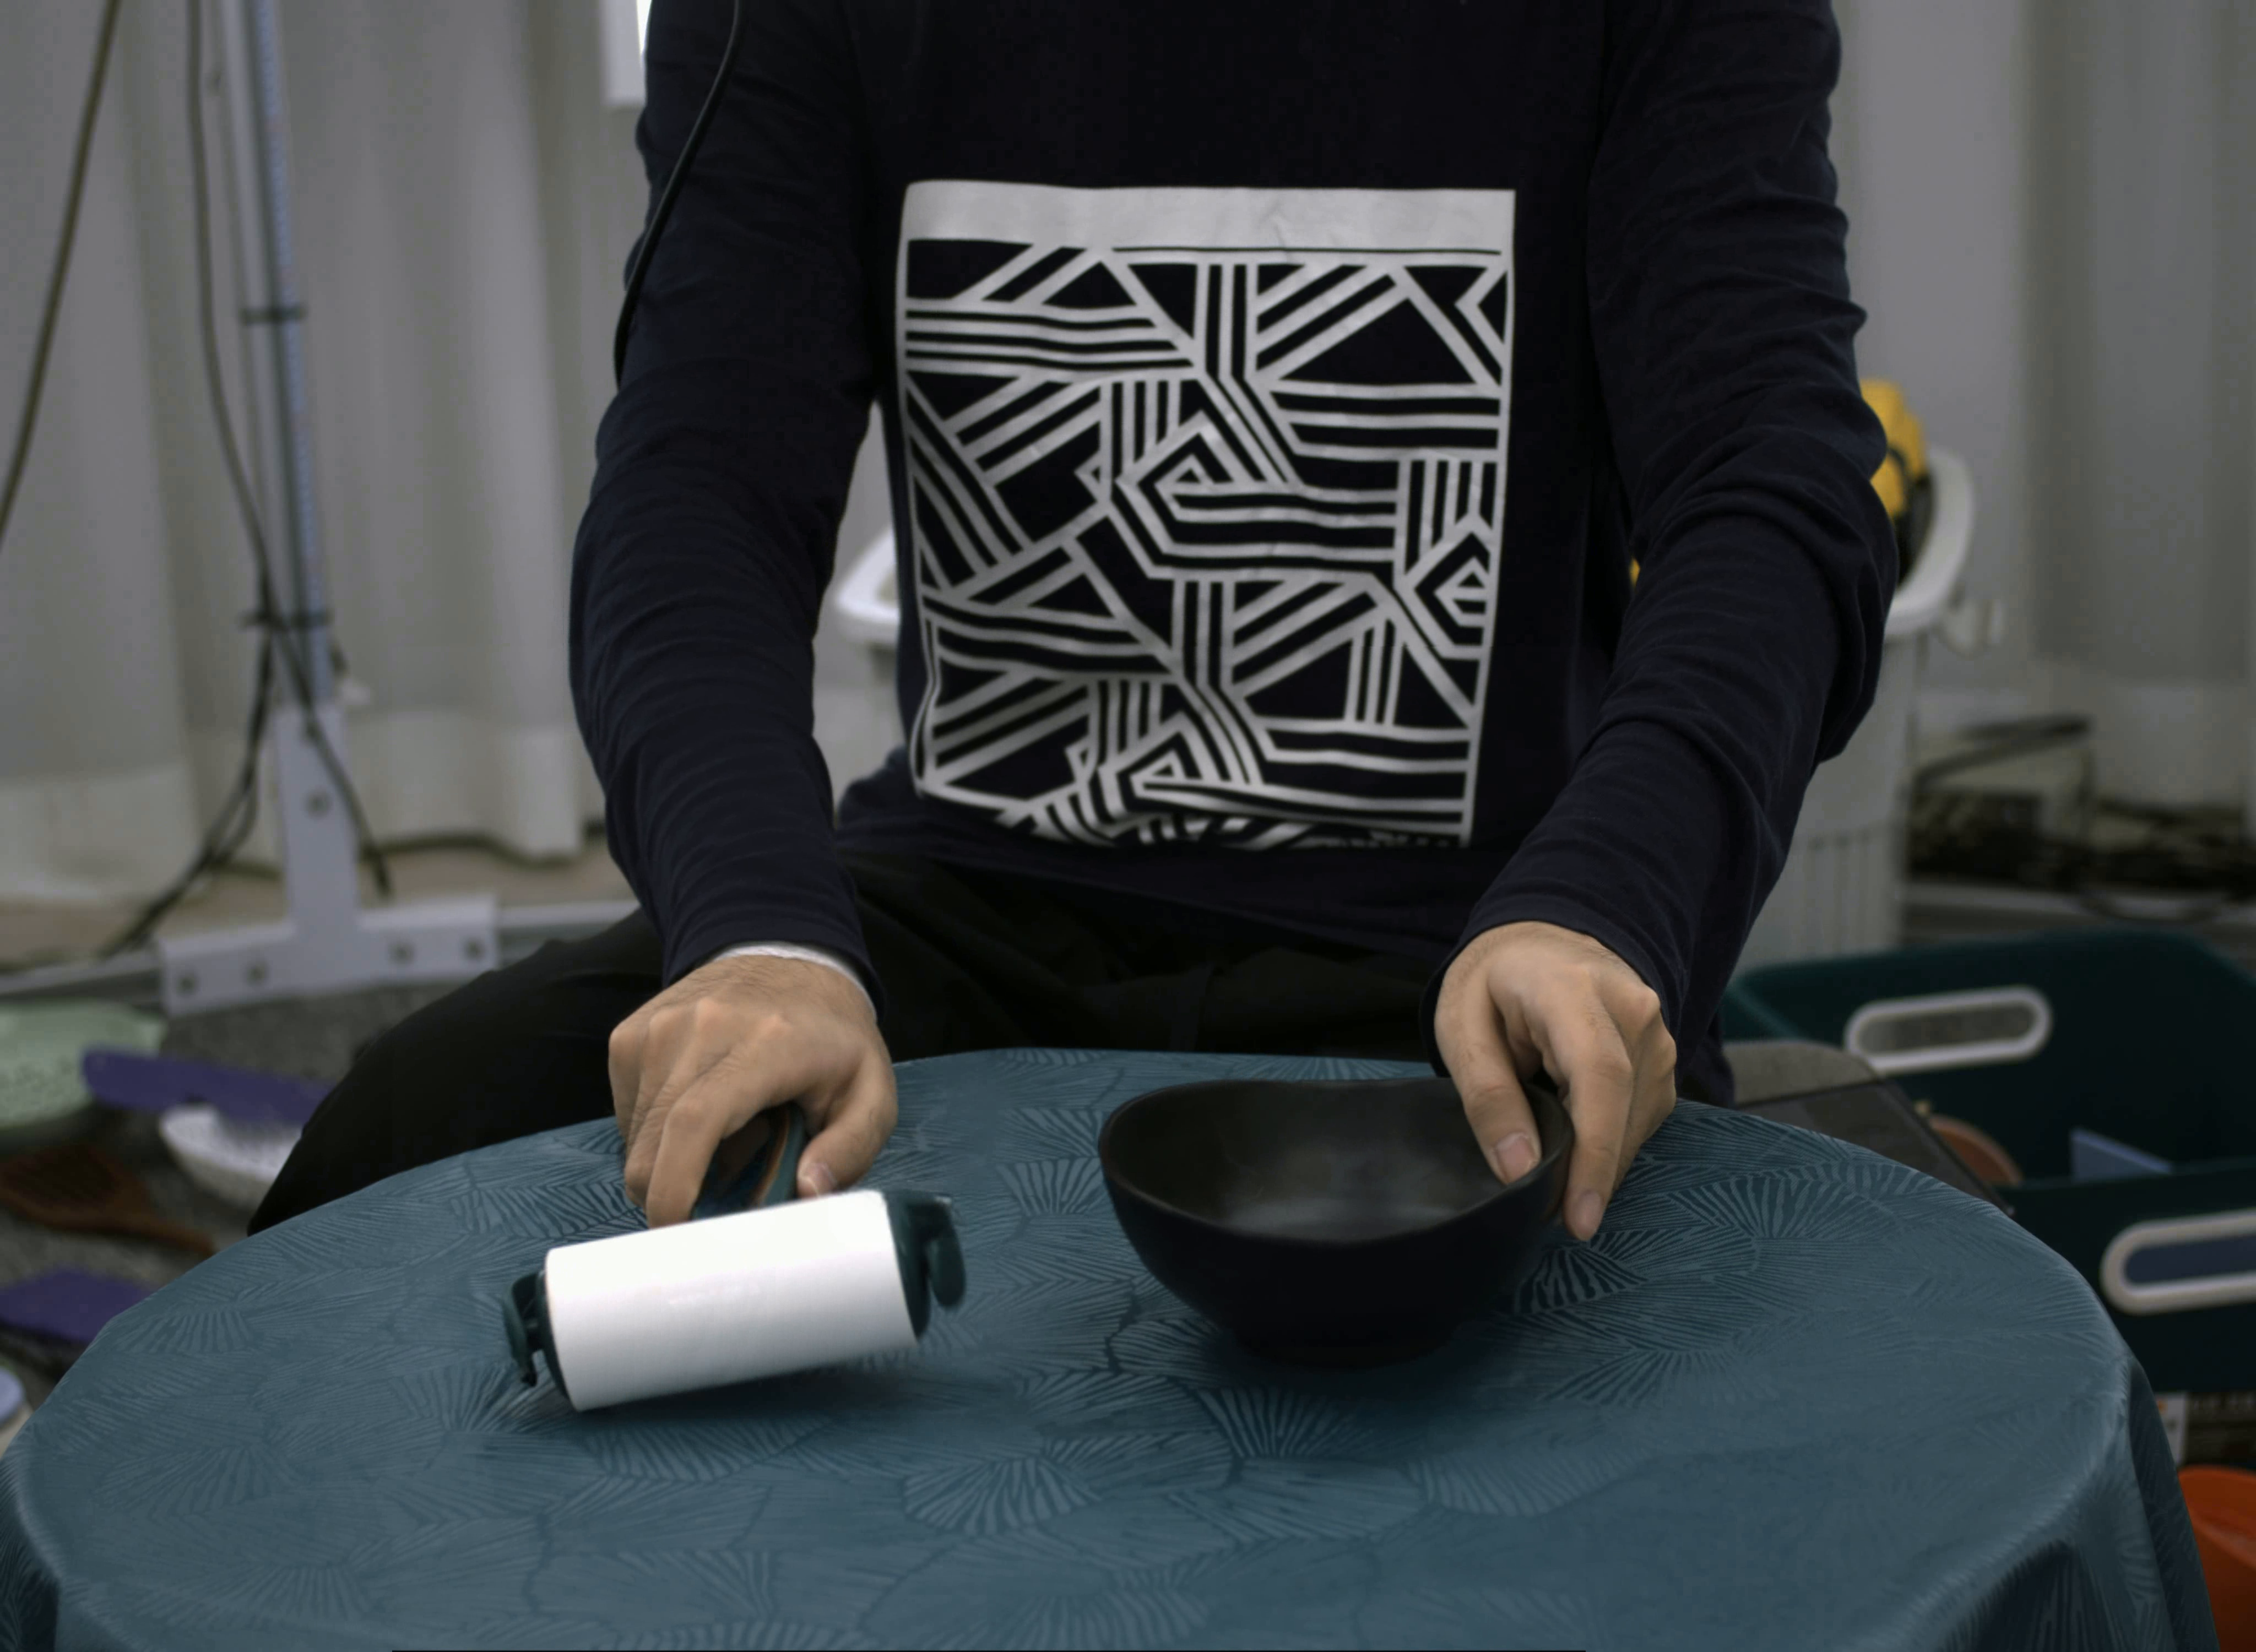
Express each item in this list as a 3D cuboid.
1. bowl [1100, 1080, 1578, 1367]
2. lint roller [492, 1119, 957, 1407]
[{"bbox_3d":[0.062,0.115,1.578,0.137,0.066,0.171,-1,13,6],"label":"bowl"},{"bbox_3d":[-0.117,0.107,1.611,0.134,0.048,0.182,-13,21,1],"label":"lint roller"}]
